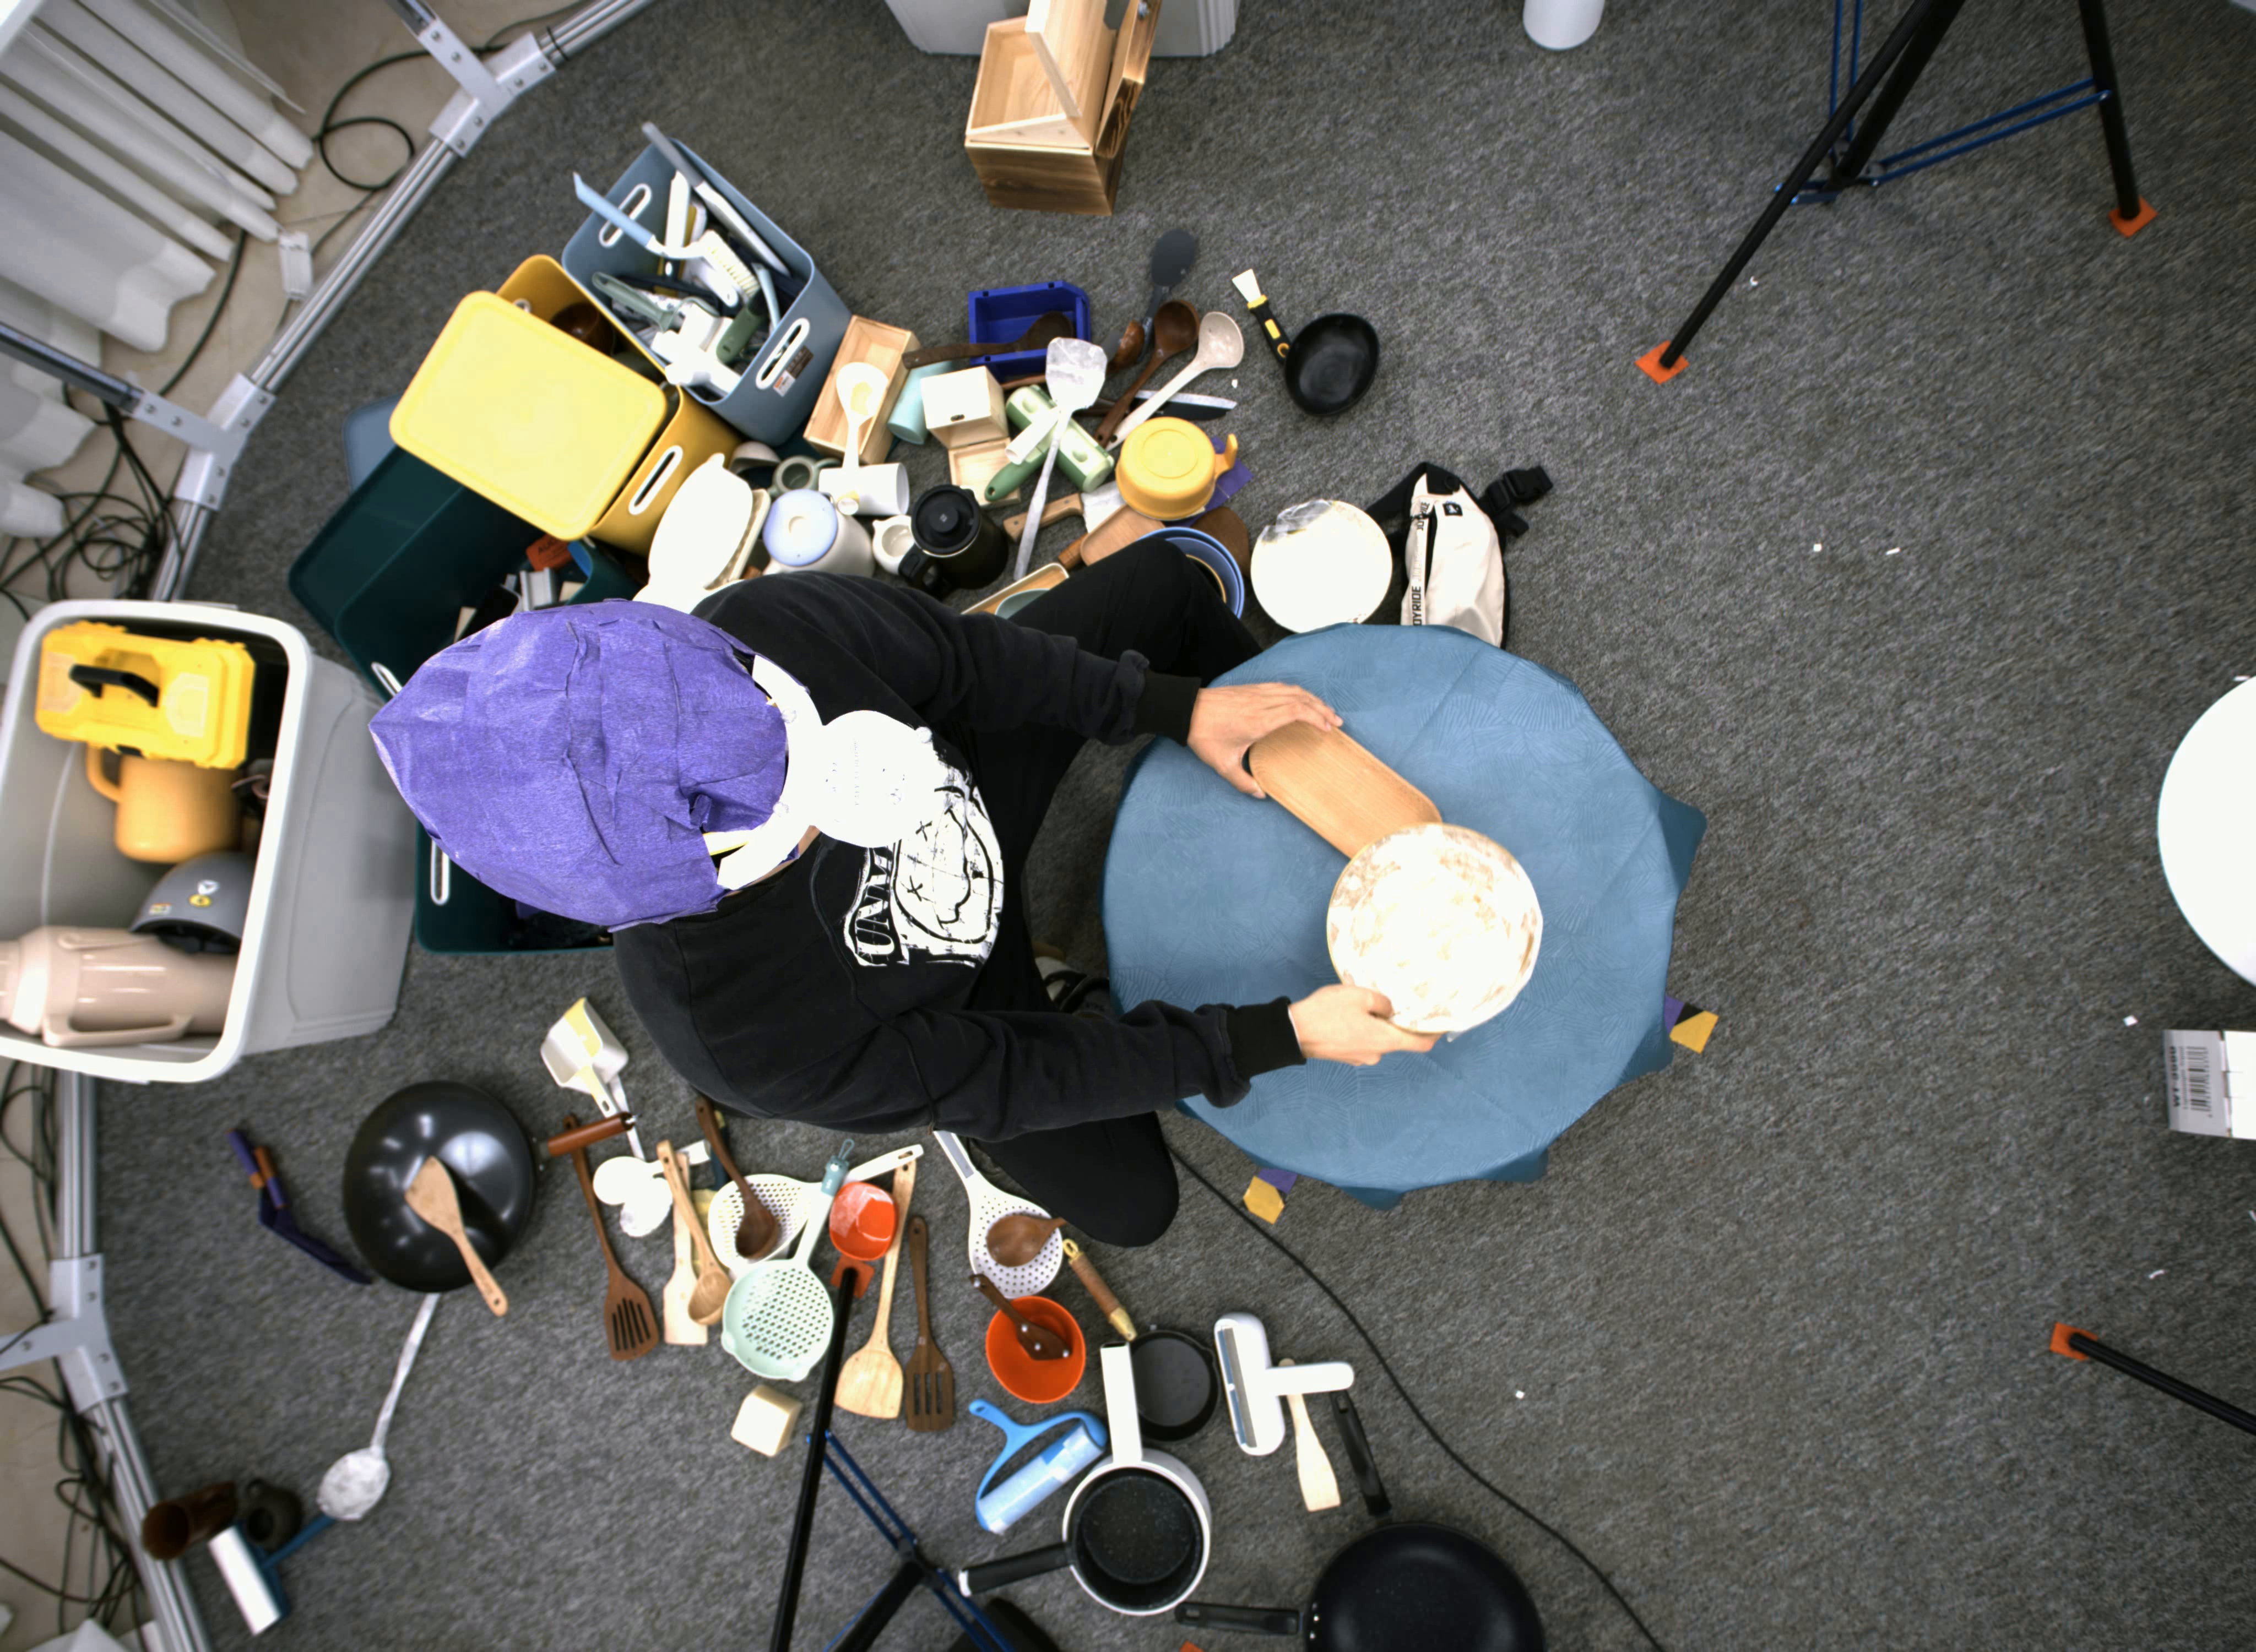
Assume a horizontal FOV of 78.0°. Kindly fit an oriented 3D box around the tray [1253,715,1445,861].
[{"bbox_3d":[0.235,-0.030,1.464,0.231,0.020,0.102,37,97,5],"label":"tray"}]

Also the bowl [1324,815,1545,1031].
[{"bbox_3d":[0.300,0.097,1.336,0.216,0.095,0.212,-5,78,24],"label":"bowl"}]
